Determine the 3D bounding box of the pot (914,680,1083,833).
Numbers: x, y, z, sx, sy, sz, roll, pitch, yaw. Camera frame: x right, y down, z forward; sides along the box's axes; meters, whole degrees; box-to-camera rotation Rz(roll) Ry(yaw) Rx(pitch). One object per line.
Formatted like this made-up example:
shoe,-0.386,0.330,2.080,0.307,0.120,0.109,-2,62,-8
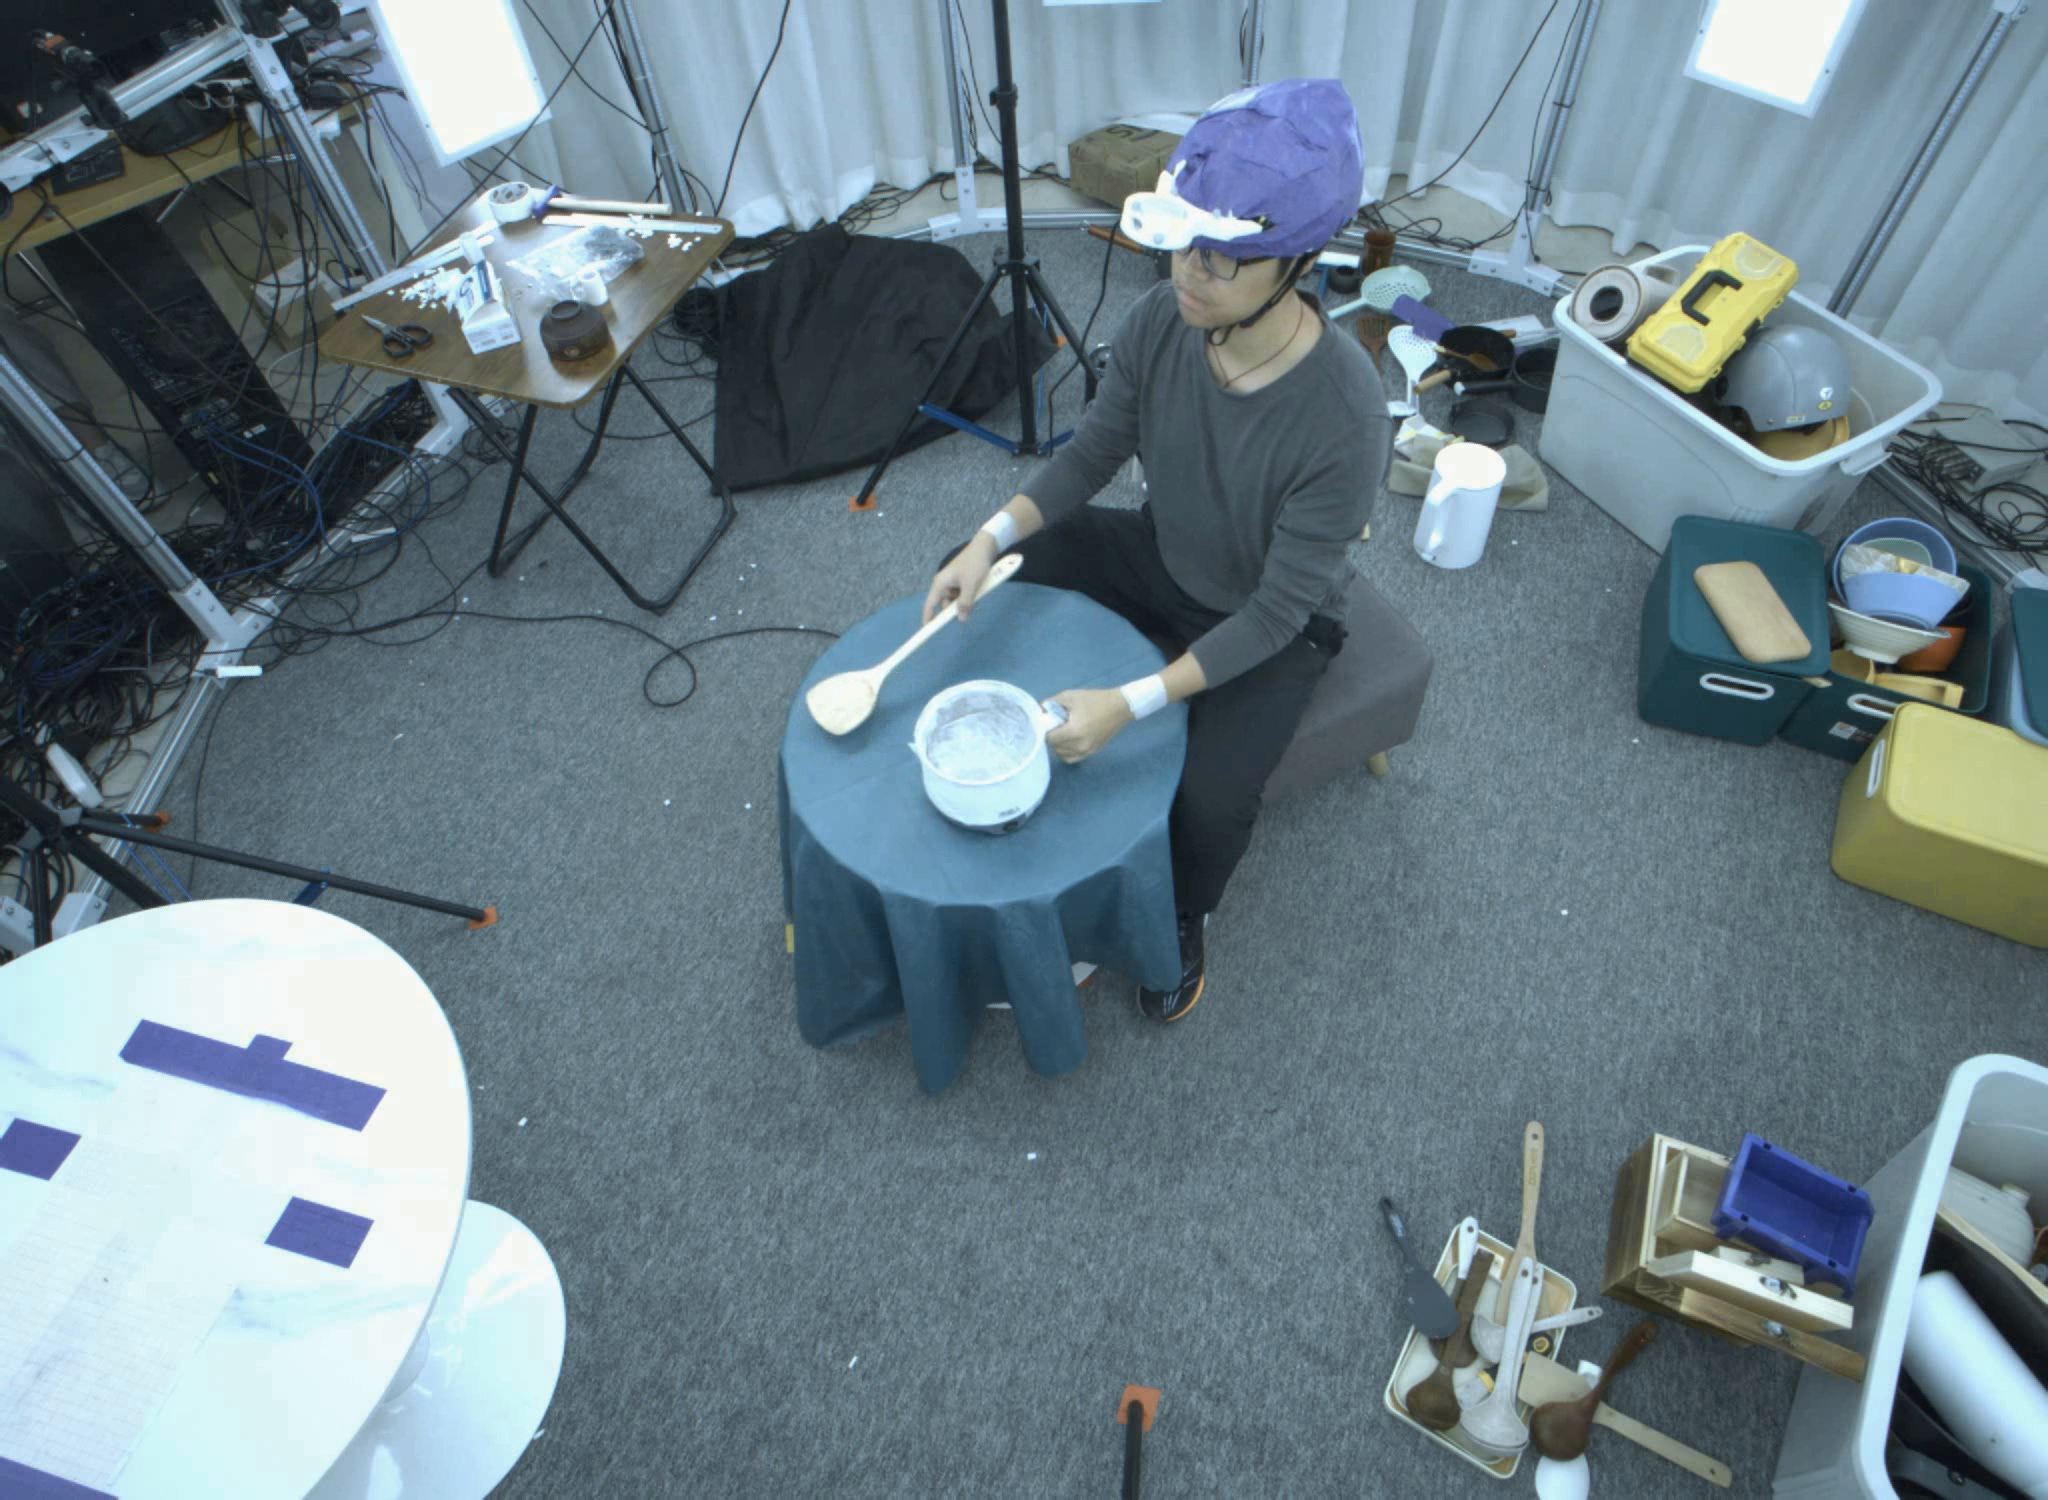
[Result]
pot,-0.030,0.001,1.710,0.235,0.138,0.175,-22,57,-13

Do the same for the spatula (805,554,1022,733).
spatula,-0.159,-0.169,1.820,0.391,0.019,0.094,-40,71,-5
